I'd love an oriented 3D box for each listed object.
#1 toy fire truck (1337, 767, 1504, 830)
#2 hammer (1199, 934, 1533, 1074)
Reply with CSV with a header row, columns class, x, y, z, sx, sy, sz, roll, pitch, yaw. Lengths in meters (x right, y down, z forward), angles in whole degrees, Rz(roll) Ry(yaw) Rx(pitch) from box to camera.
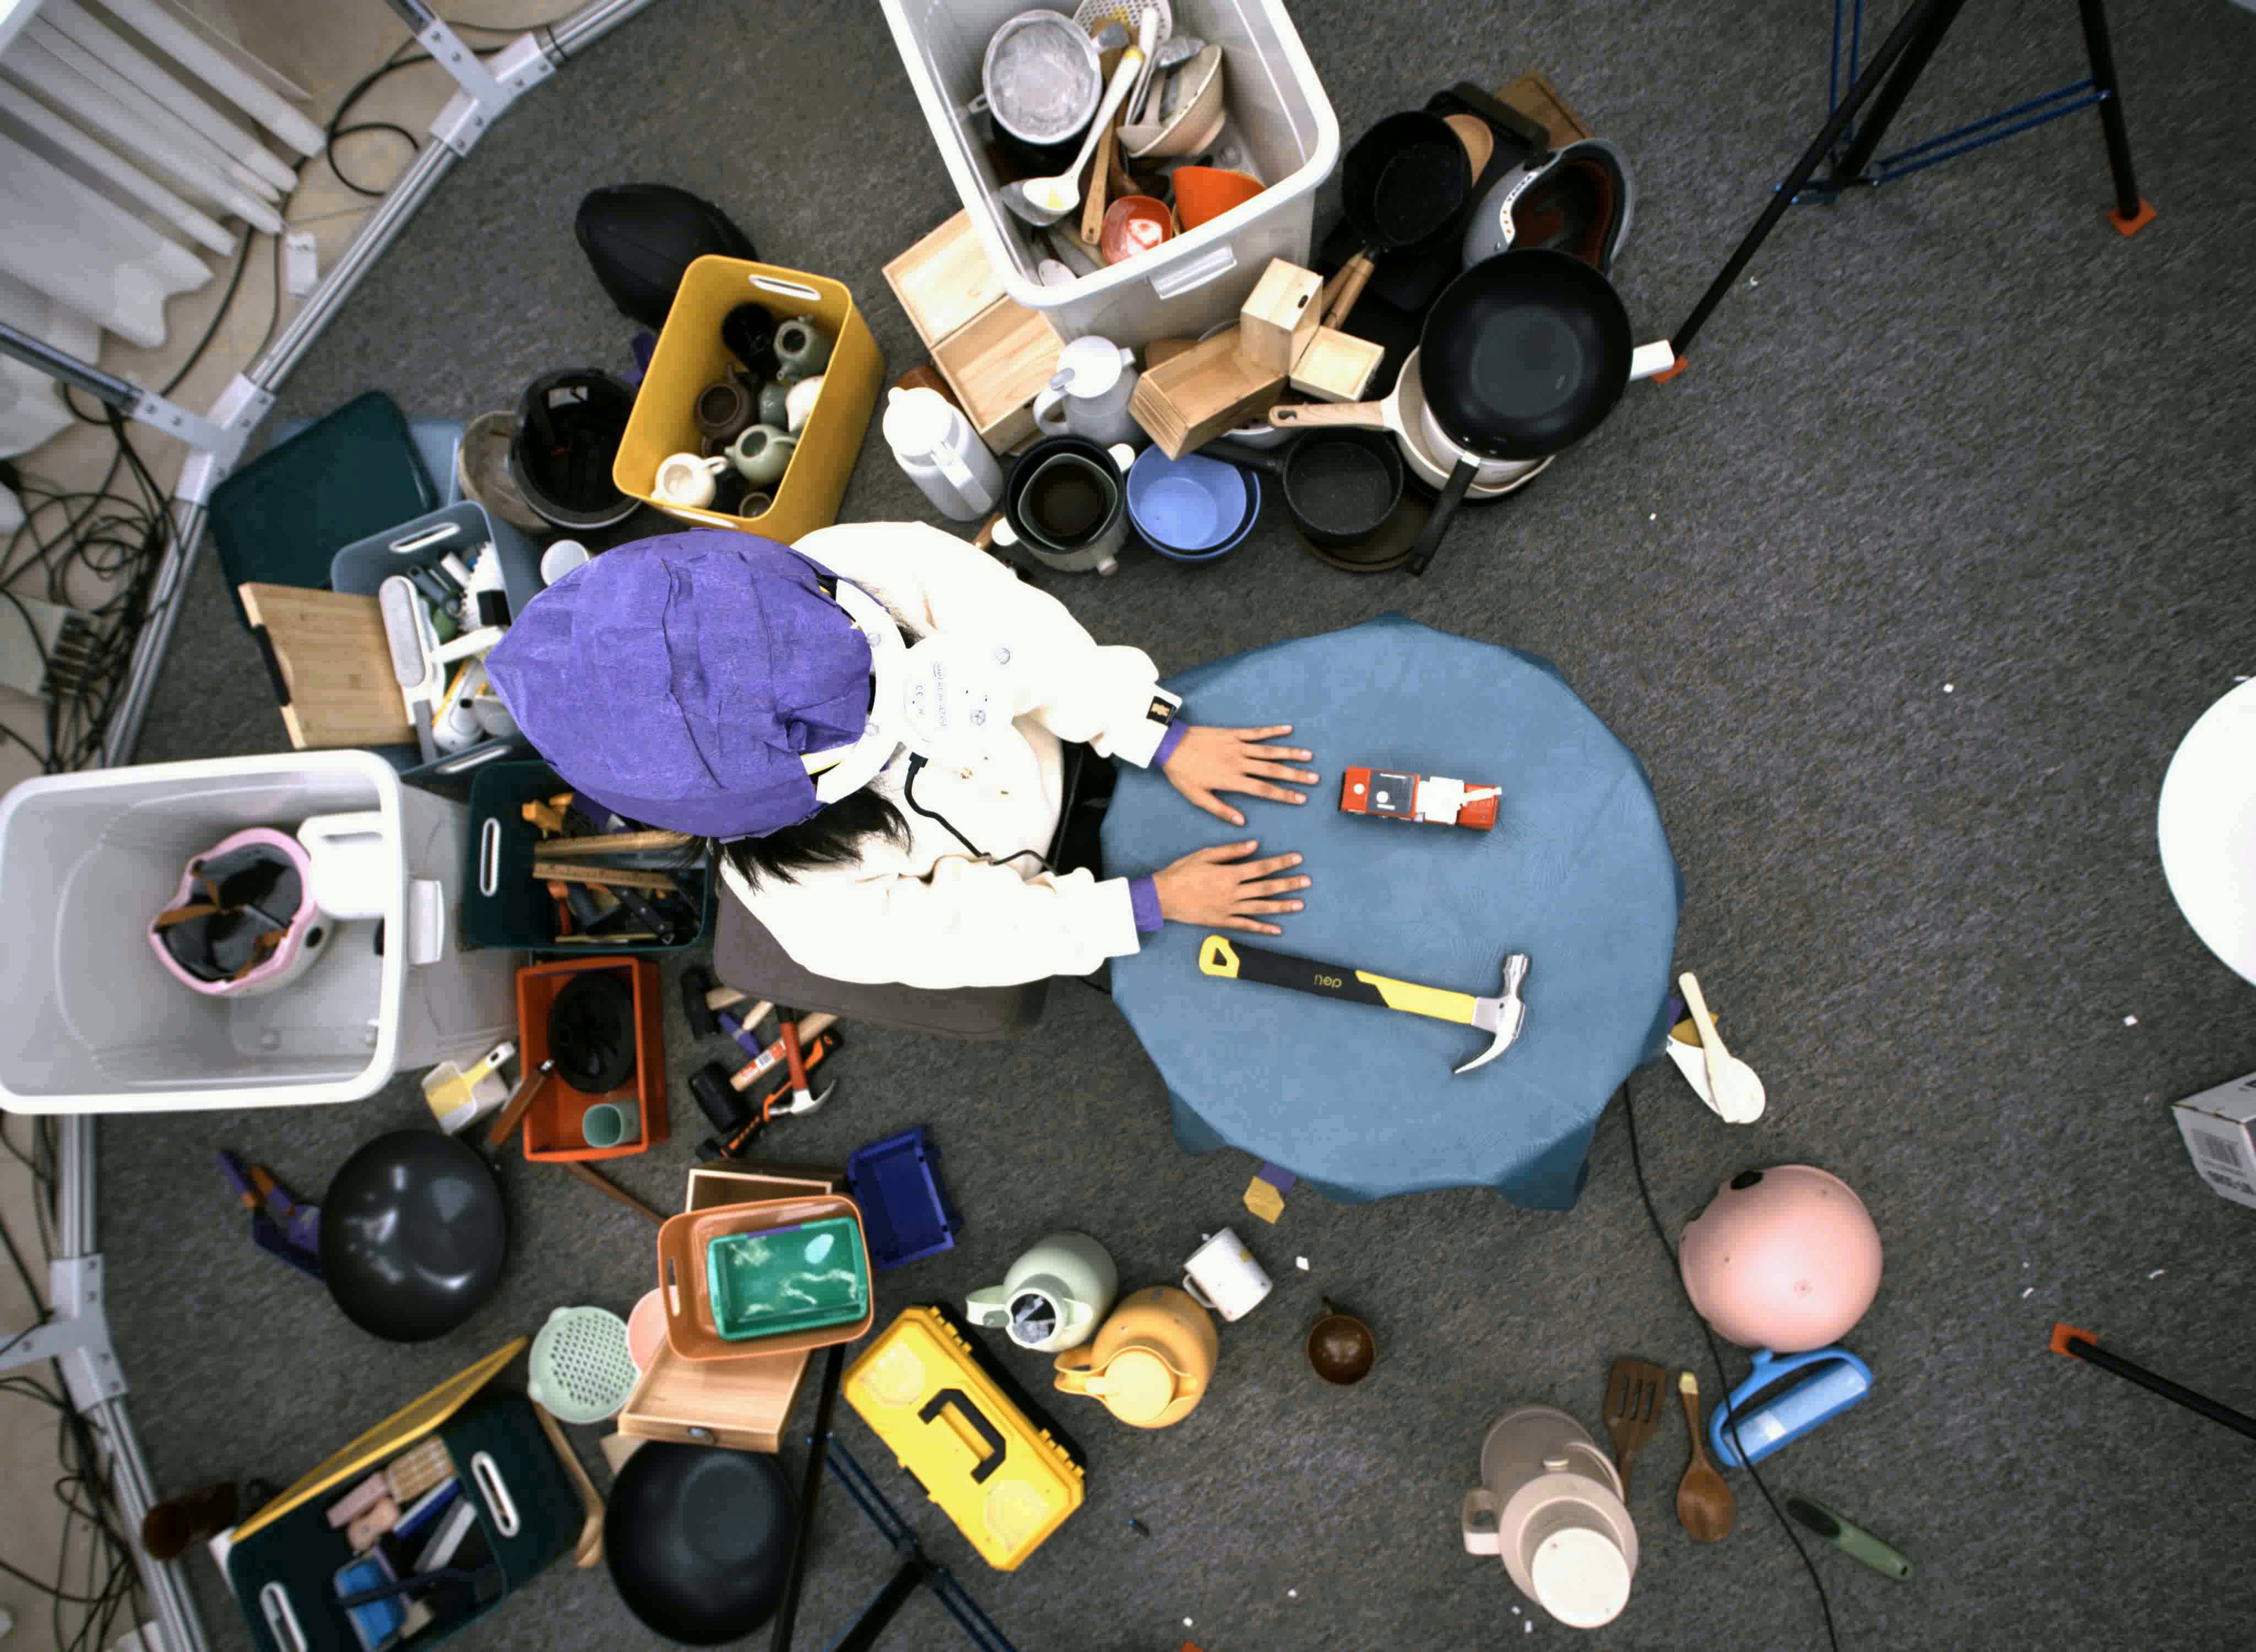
class,x,y,z,sx,sy,sz,roll,pitch,yaw
toy fire truck,0.303,-0.030,1.430,0.168,0.070,0.054,7,86,12
hammer,0.241,0.165,1.441,0.339,0.032,0.131,12,90,10
